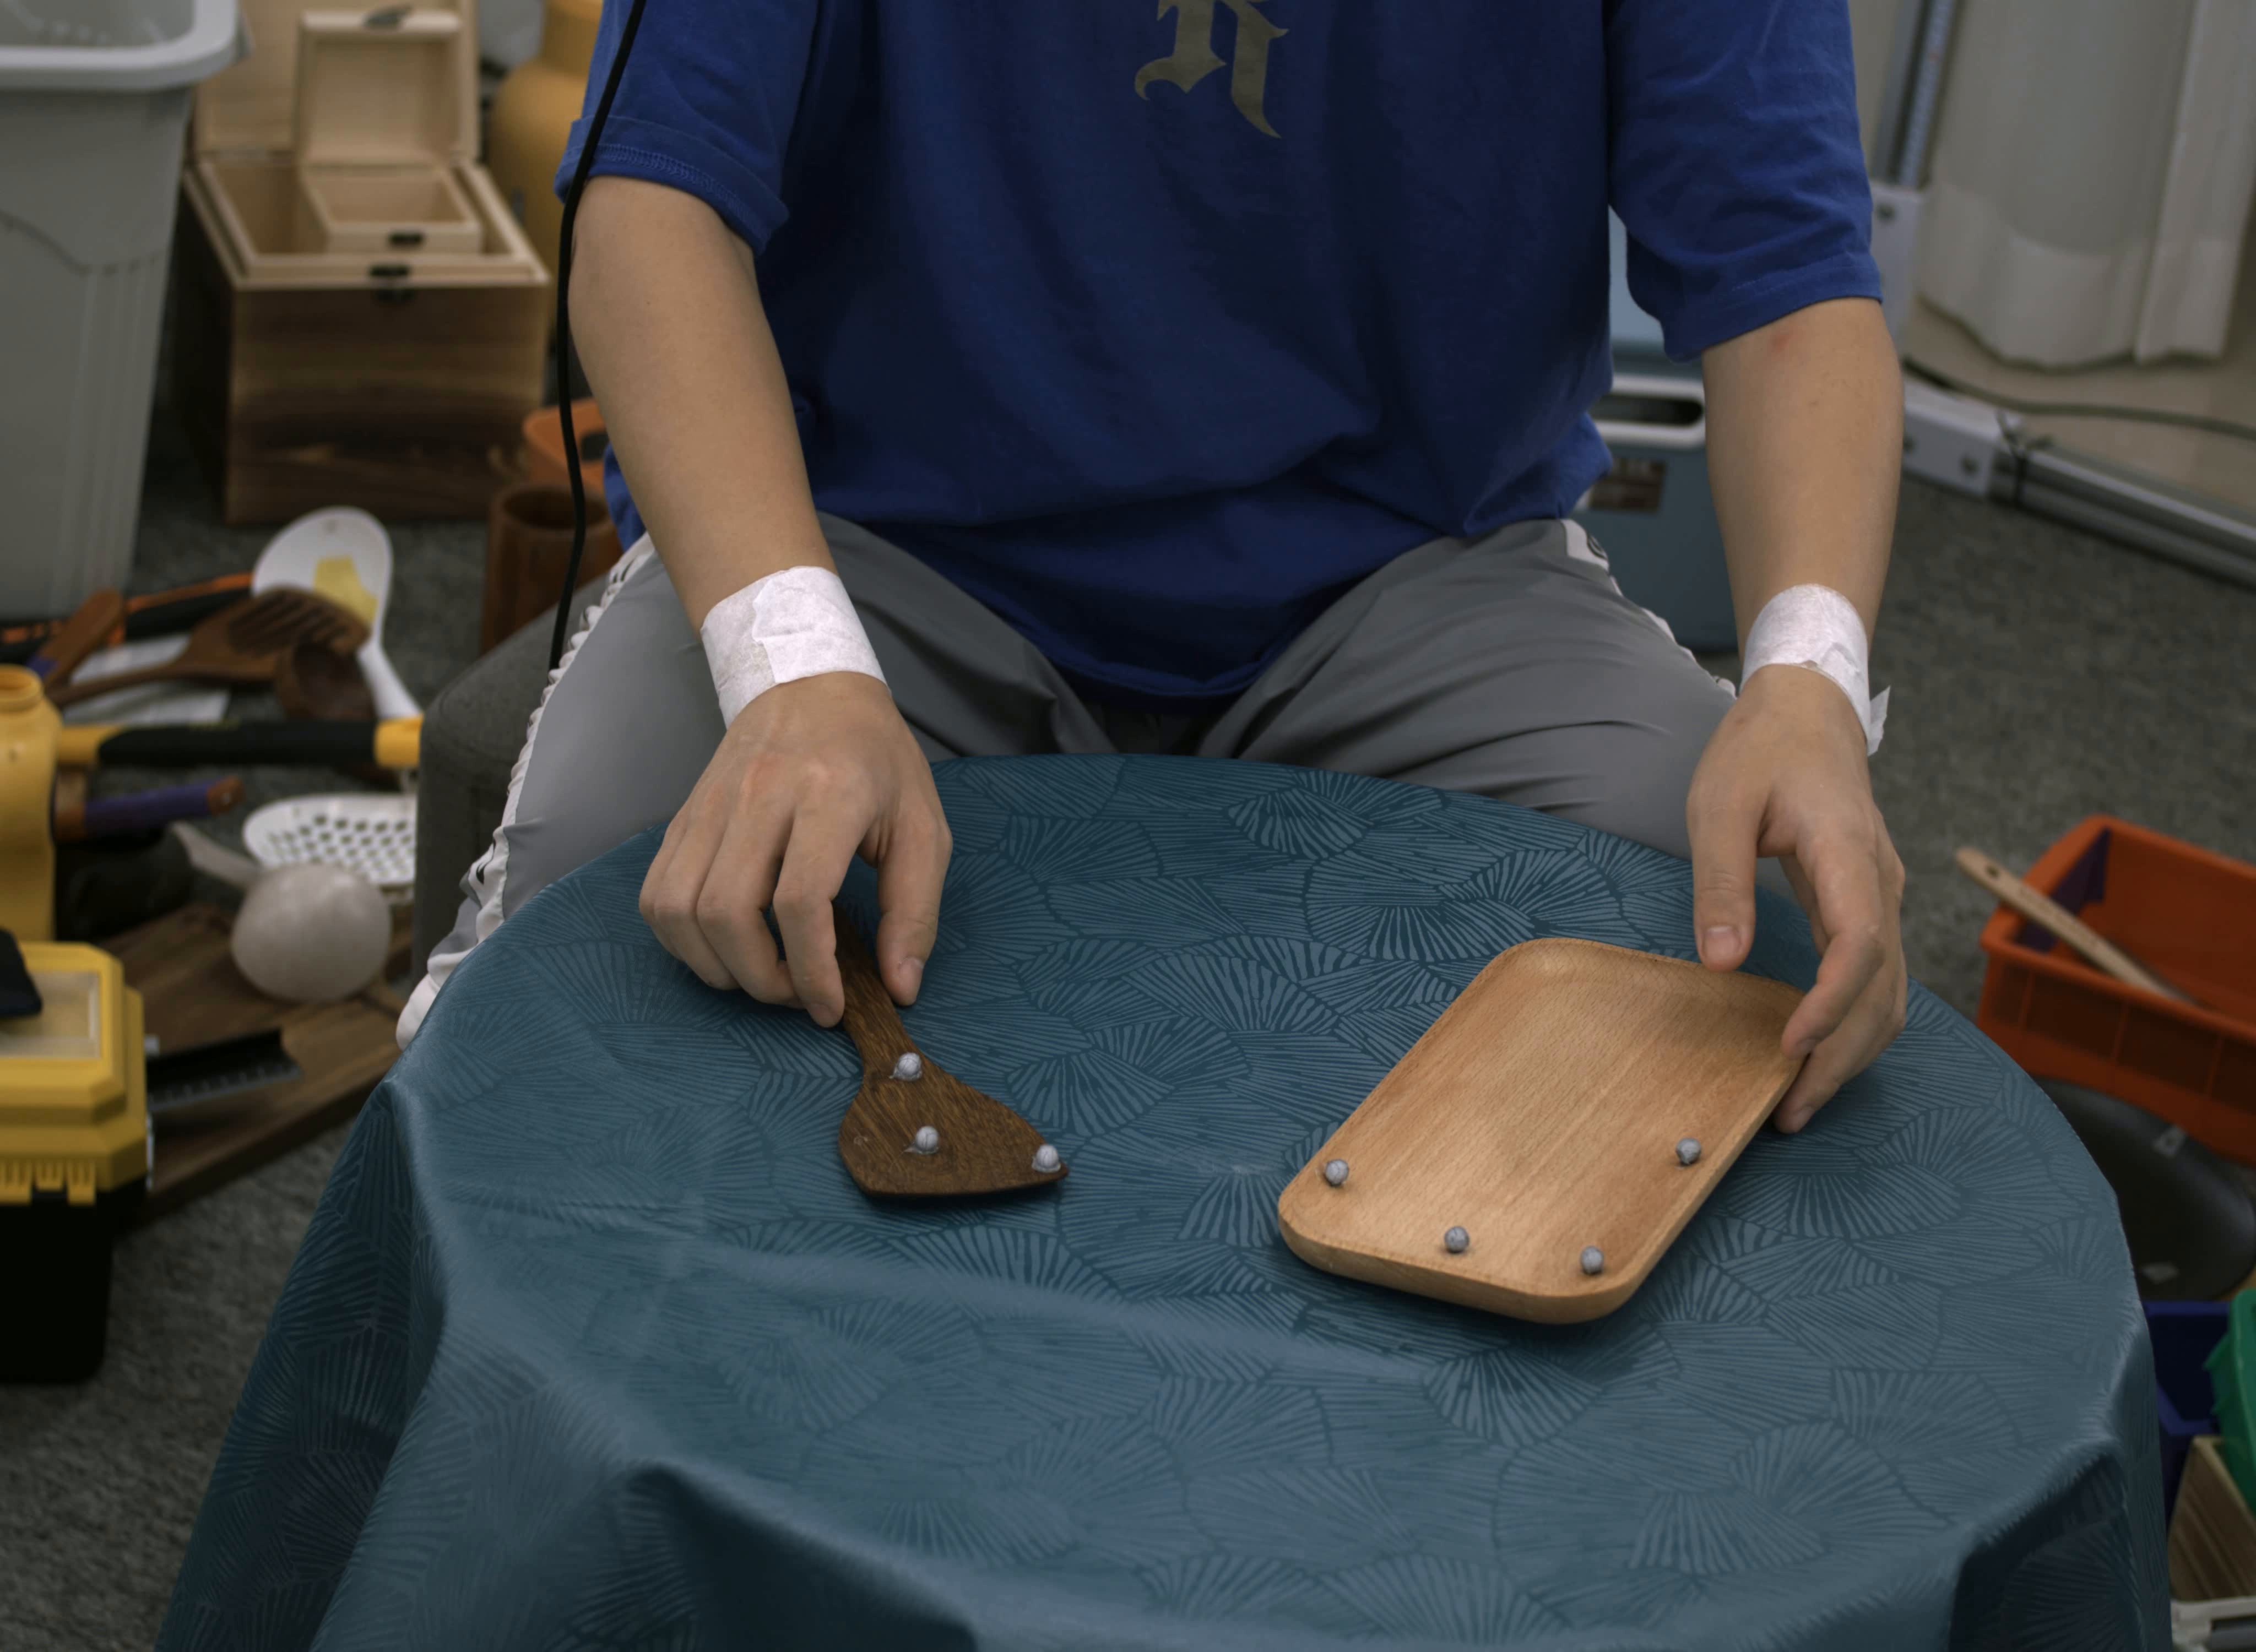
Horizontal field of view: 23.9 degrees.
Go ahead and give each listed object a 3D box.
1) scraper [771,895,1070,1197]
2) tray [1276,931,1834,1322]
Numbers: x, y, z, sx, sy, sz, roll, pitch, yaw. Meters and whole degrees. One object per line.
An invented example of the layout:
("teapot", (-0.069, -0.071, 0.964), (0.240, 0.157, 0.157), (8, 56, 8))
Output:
("scraper", (-0.085, 0.076, 1.866), (0.075, 0.011, 0.213), (-2, 28, -20))
("tray", (0.151, 0.101, 1.847), (0.131, 0.023, 0.250), (15, 28, 22))
